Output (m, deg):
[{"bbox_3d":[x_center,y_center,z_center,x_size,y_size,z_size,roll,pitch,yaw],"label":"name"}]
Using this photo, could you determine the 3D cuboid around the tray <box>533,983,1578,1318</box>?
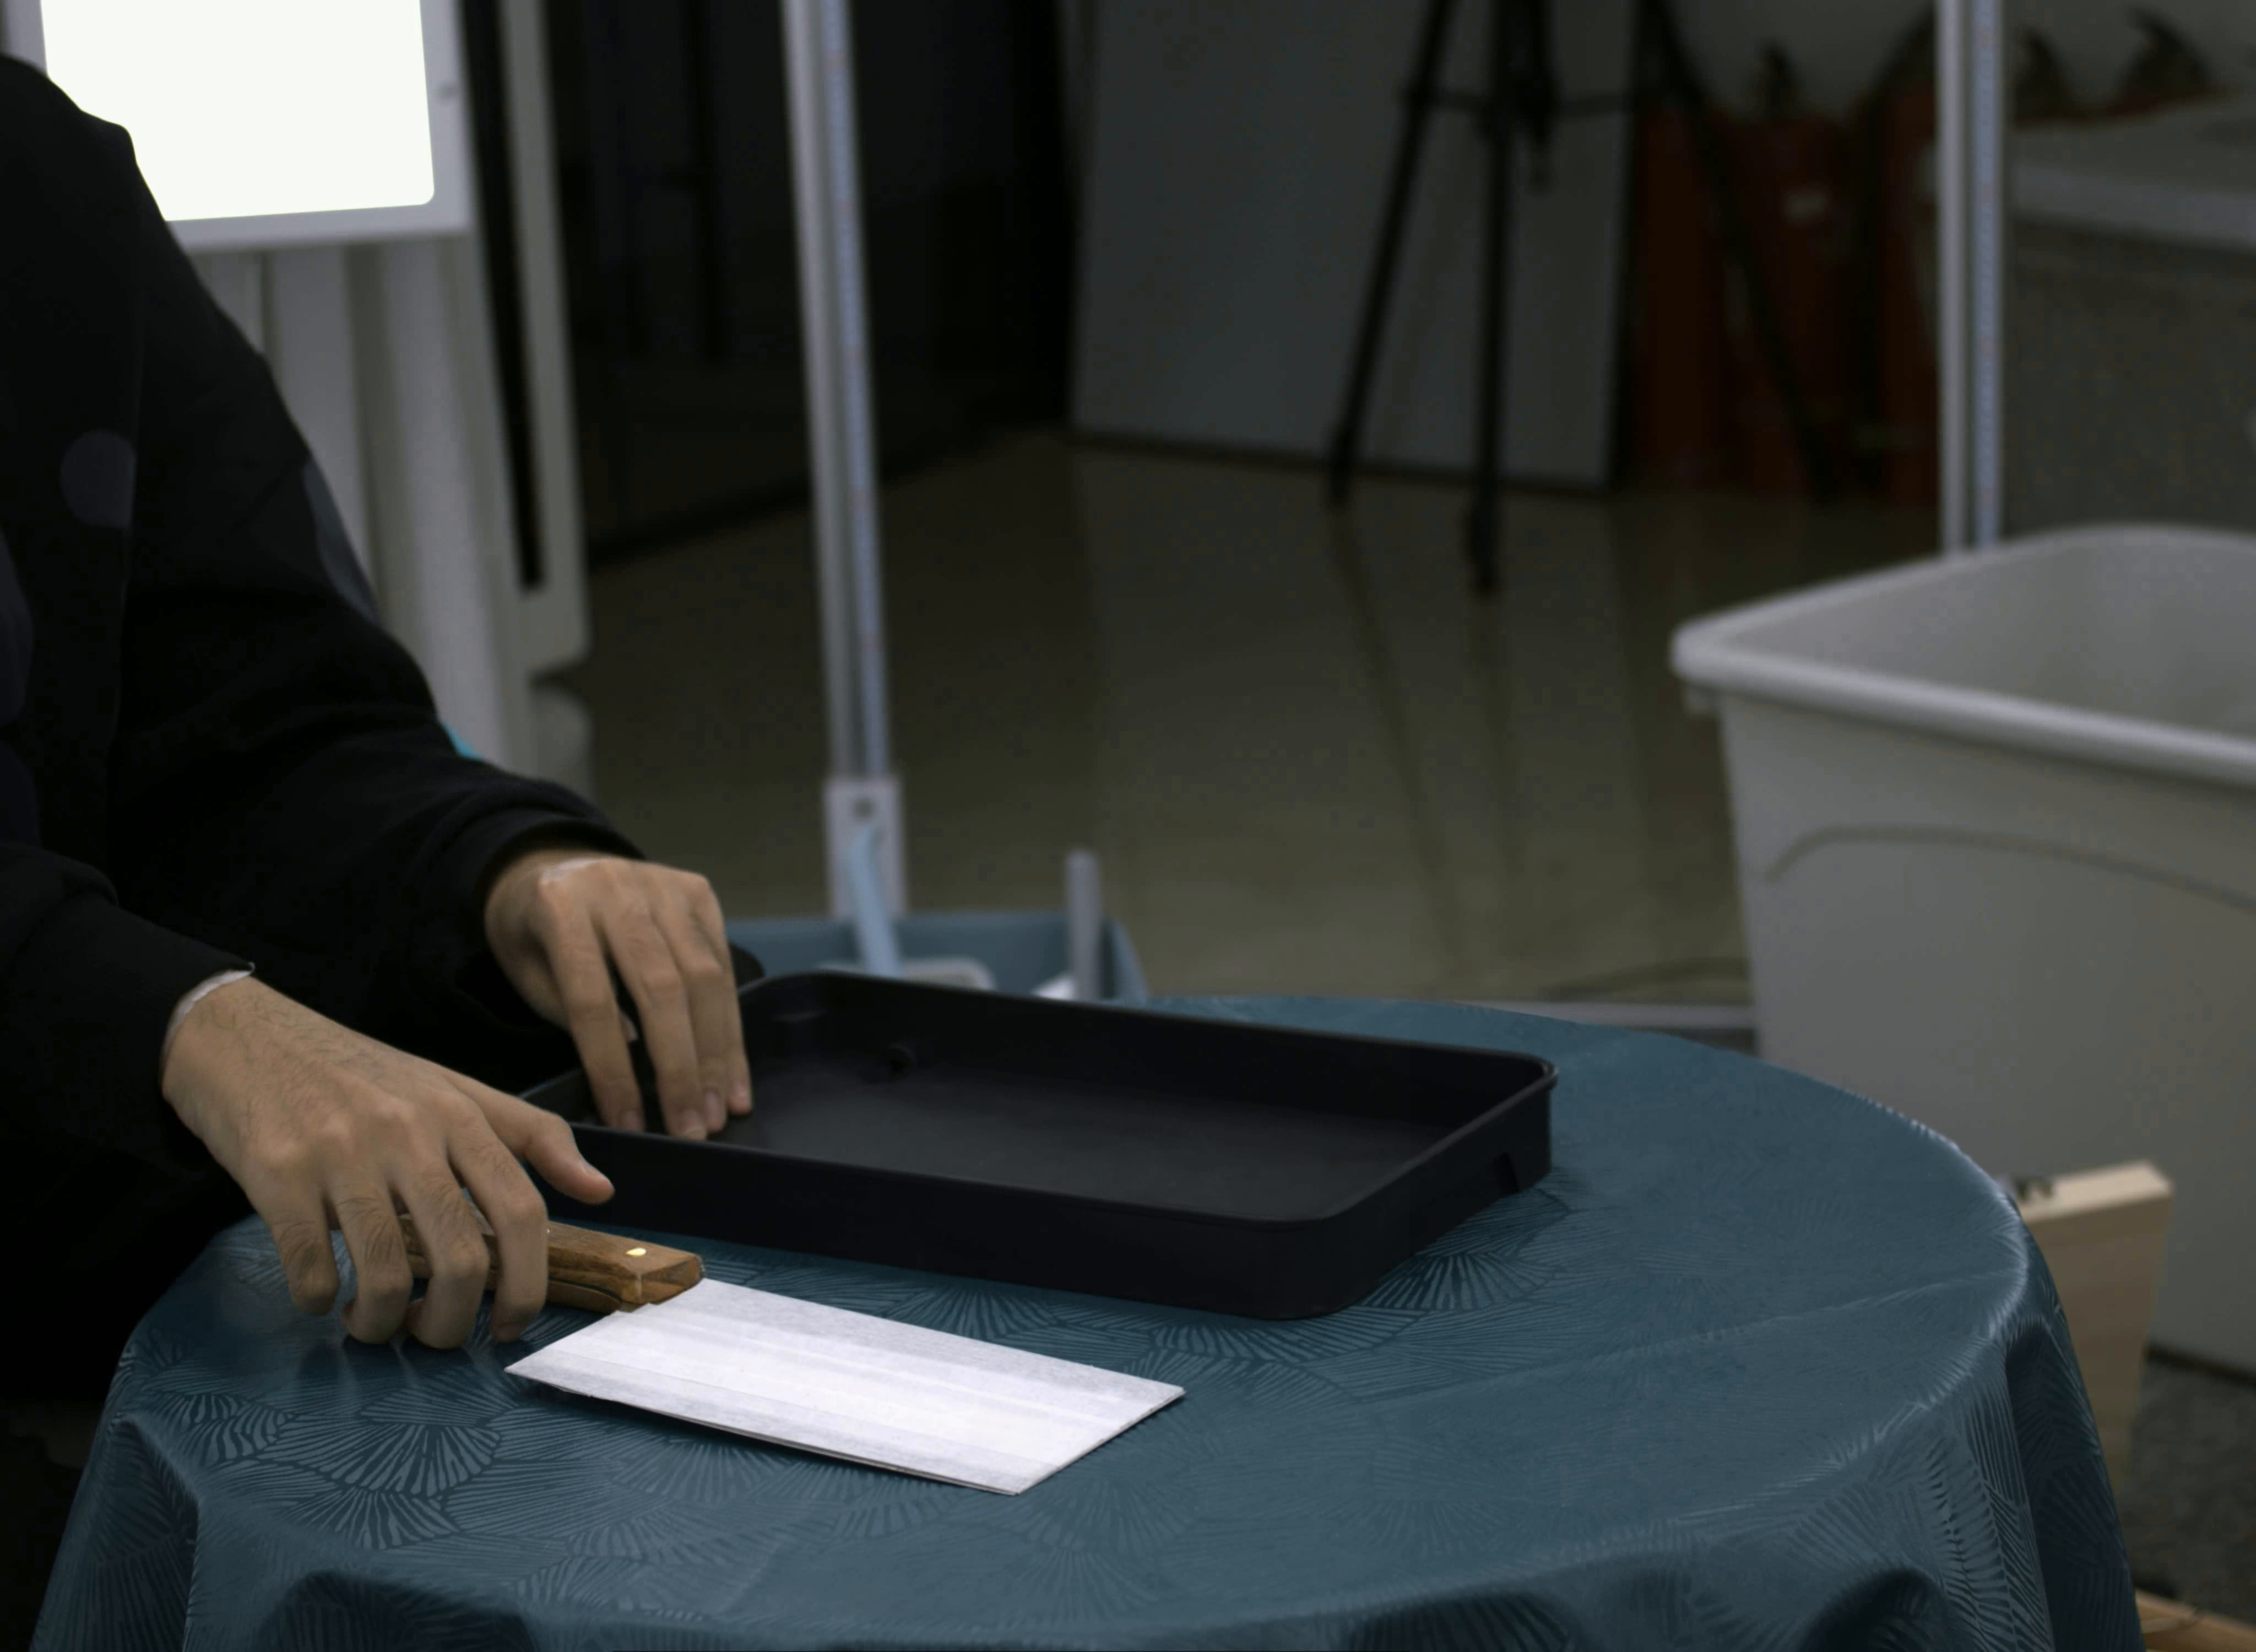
[{"bbox_3d":[-0.023,0.103,1.776,0.319,0.037,0.181,4,16,30],"label":"tray"}]

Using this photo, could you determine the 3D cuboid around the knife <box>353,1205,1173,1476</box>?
[{"bbox_3d":[-0.130,0.157,1.631,0.307,0.021,0.091,8,20,35],"label":"knife"}]
